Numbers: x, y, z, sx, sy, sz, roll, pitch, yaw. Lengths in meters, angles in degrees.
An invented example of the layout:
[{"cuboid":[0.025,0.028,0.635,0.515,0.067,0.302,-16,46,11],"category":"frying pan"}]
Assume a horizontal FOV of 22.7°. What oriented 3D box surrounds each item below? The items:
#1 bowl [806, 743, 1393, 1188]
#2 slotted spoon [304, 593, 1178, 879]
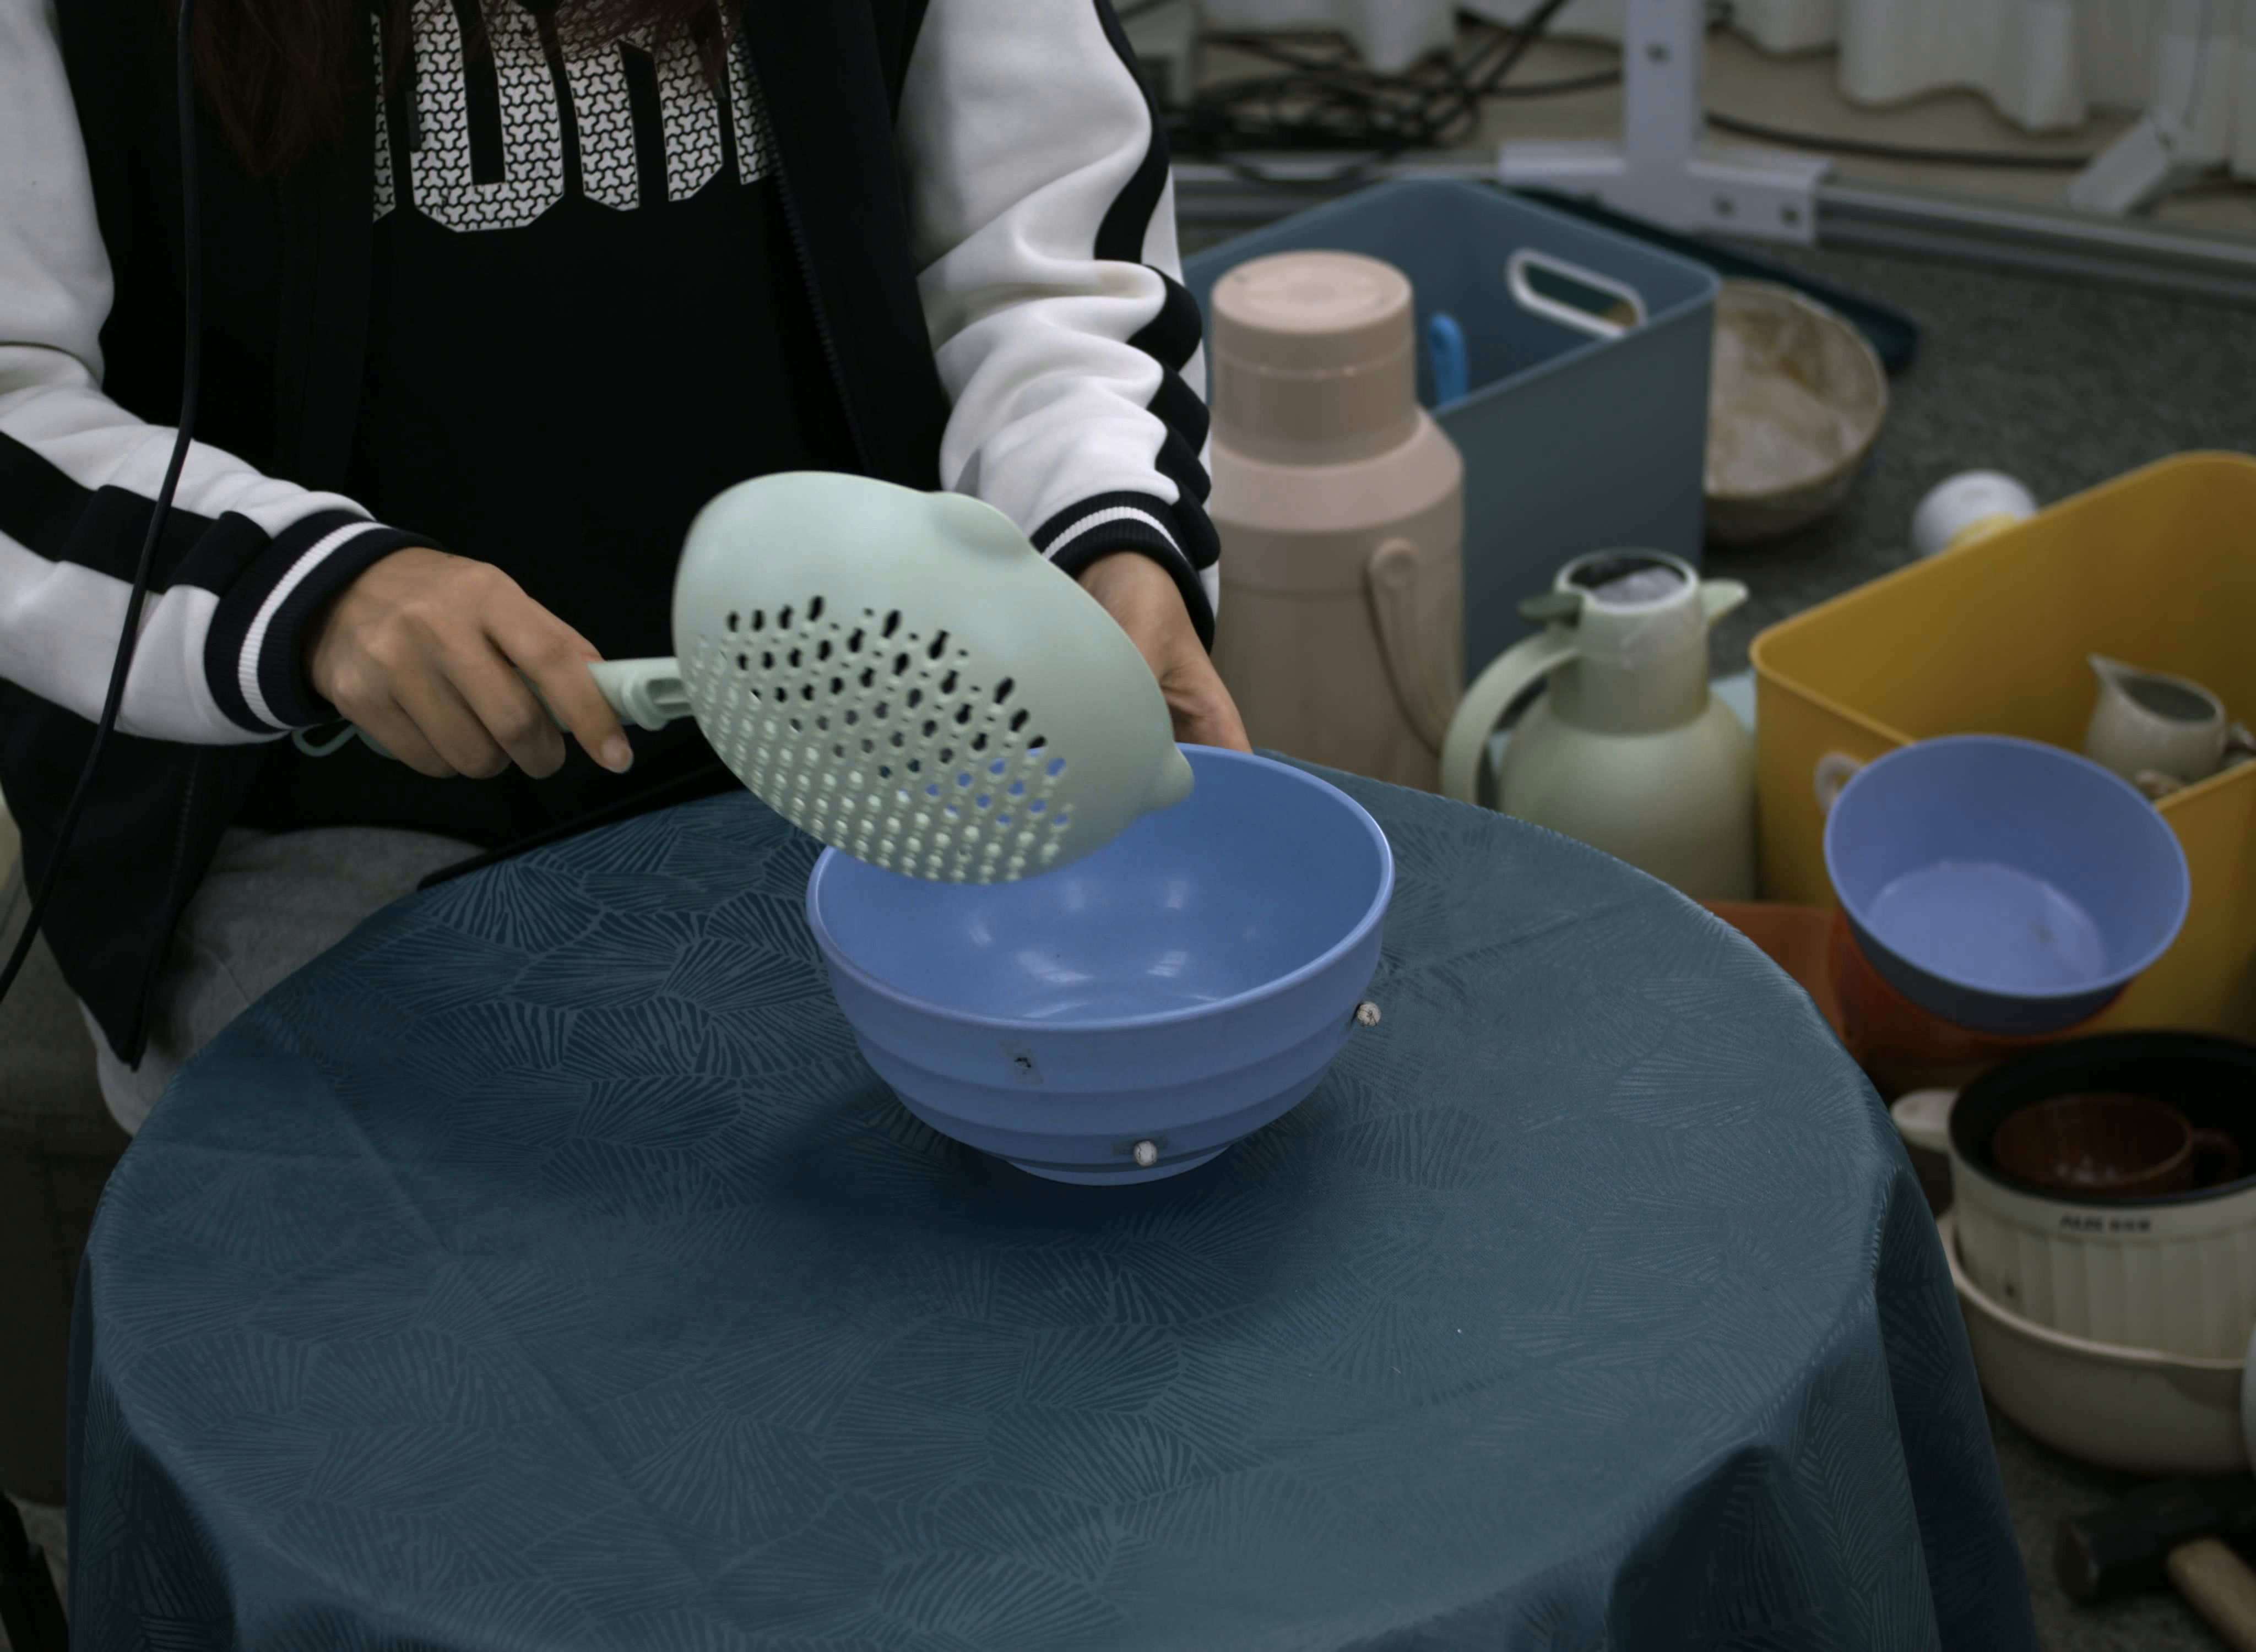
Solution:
[{"cuboid":[-0.007,0.058,1.884,0.195,0.094,0.199,-3,27,2],"category":"bowl"},{"cuboid":[-0.149,-0.032,1.837,0.356,0.076,0.168,10,-13,45],"category":"slotted spoon"}]
